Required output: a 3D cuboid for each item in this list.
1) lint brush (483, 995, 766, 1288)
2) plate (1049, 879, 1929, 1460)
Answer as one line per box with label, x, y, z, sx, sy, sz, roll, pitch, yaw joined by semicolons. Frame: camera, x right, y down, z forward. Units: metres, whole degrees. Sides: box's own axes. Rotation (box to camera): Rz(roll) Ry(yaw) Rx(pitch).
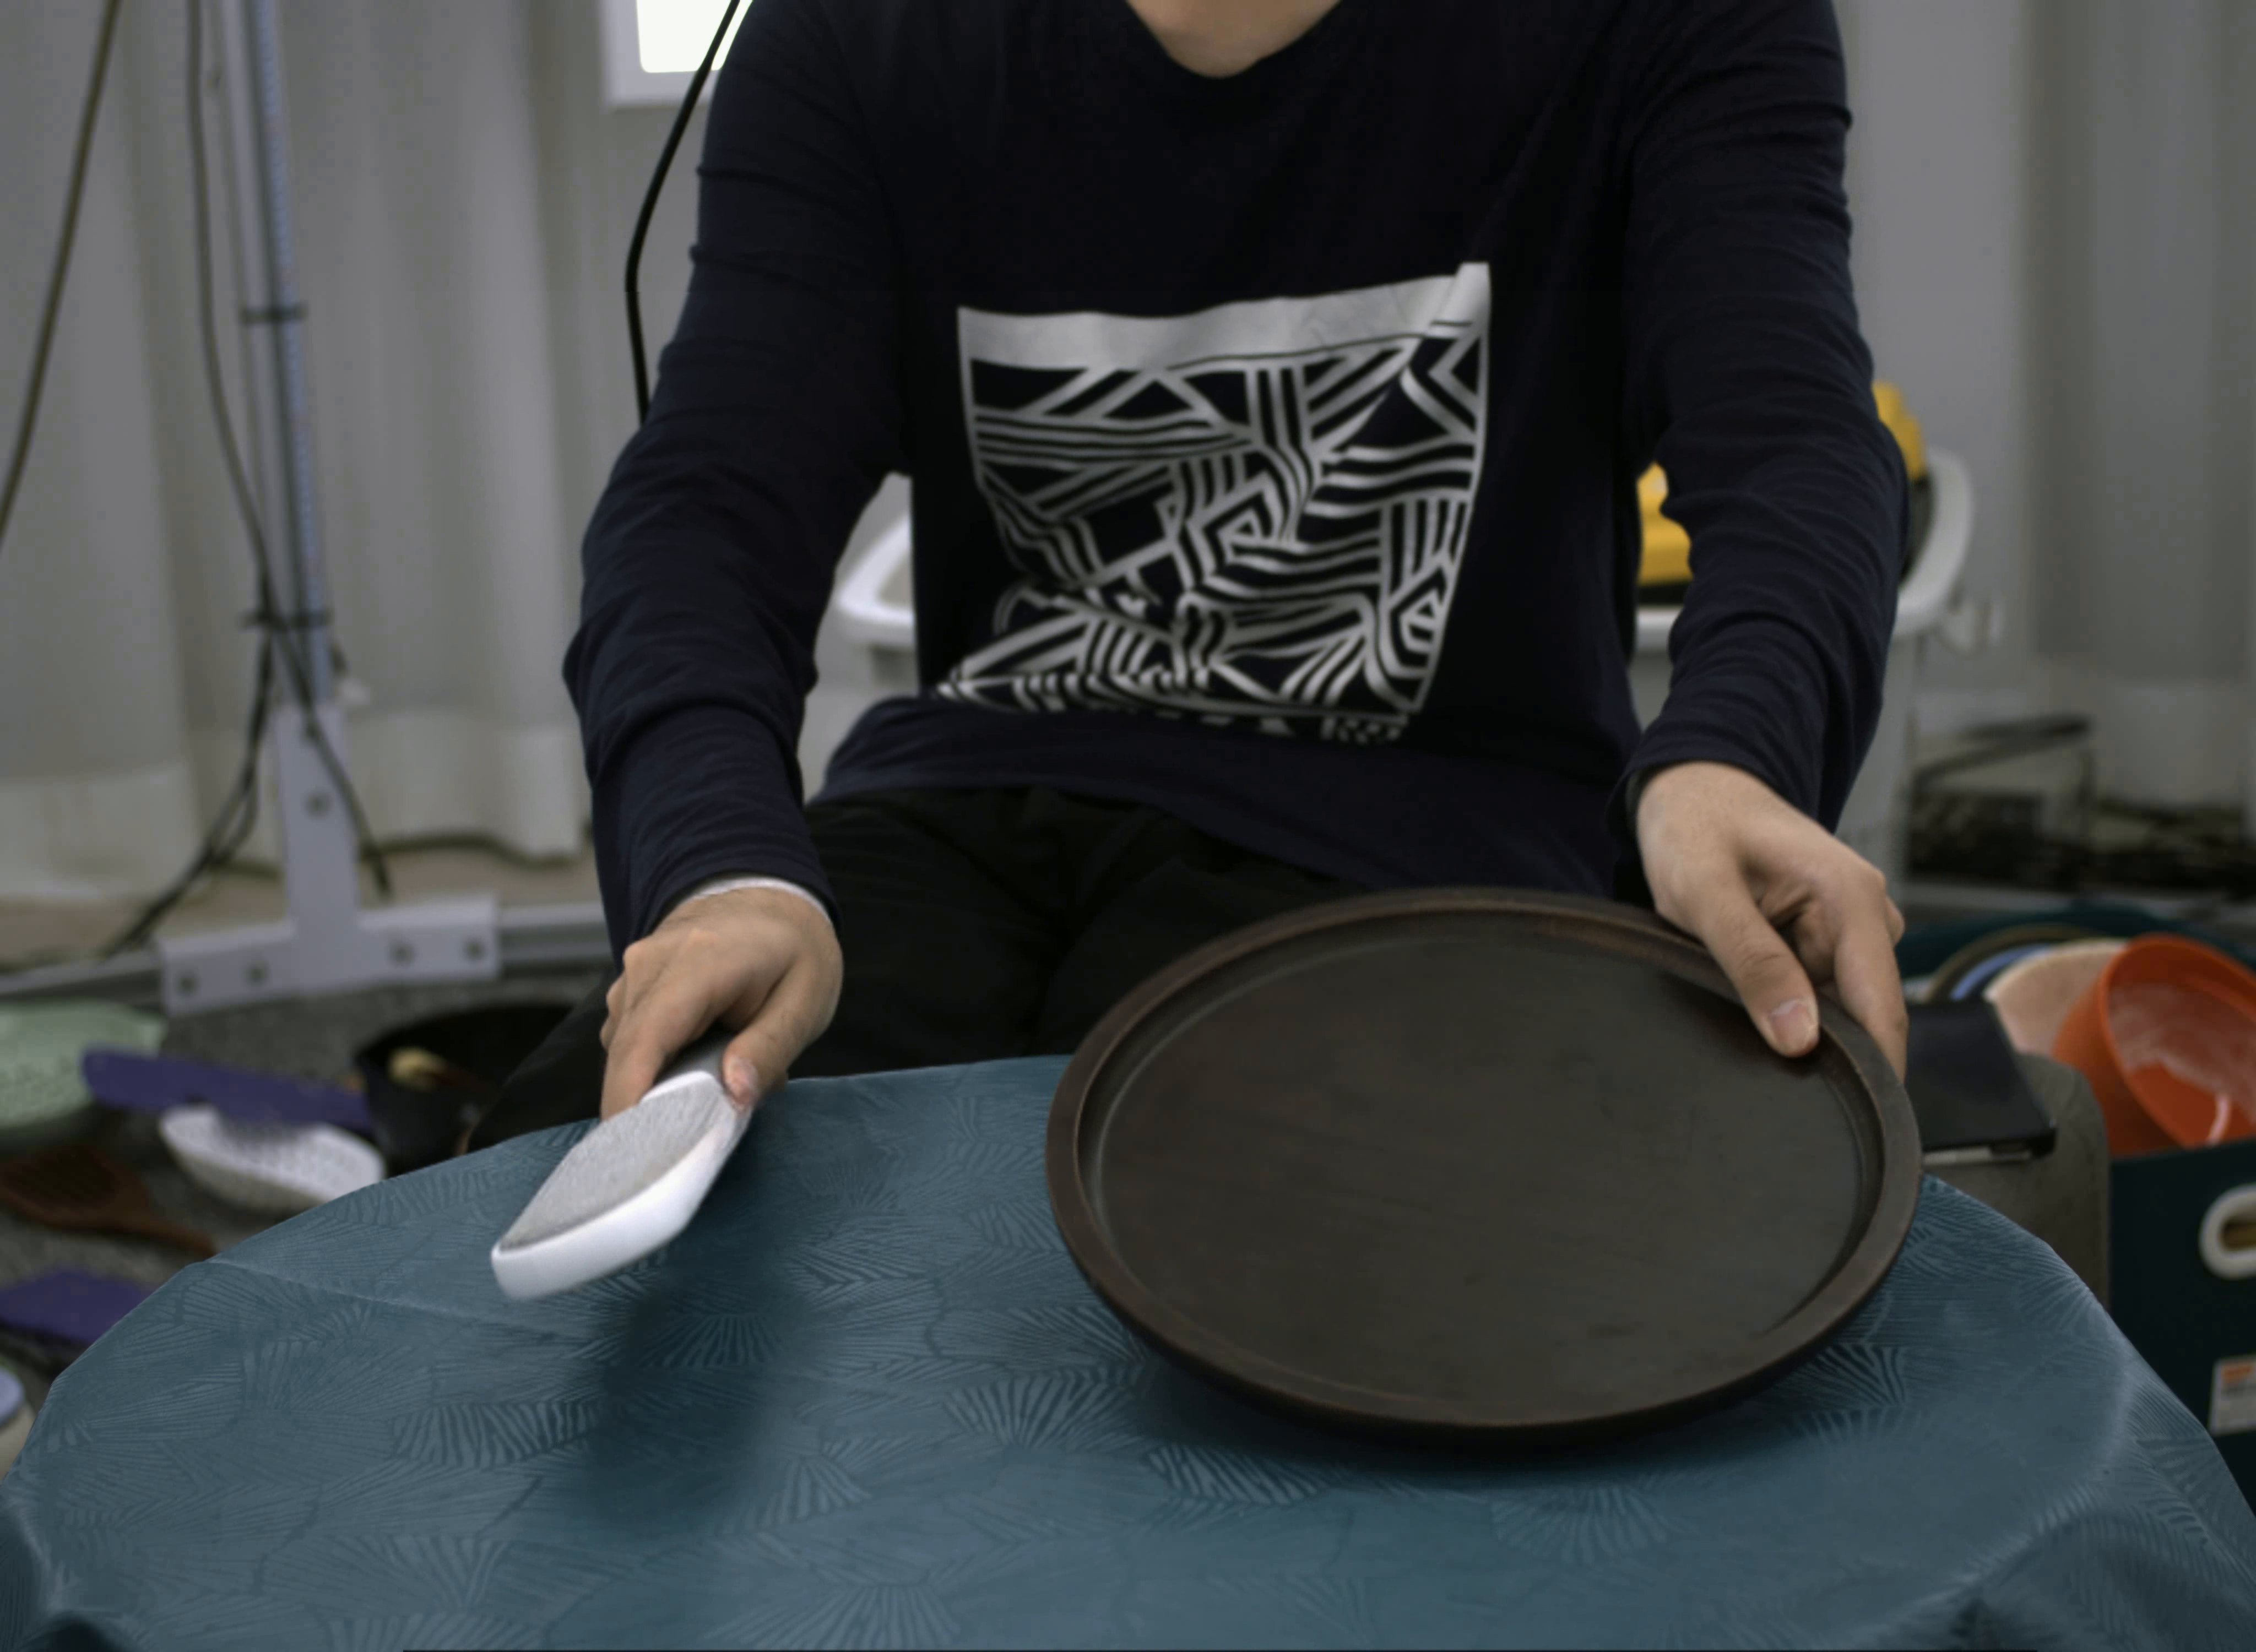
lint brush;-0.141;0.089;1.643;0.060;0.021;0.310;-27;6;8
plate;0.103;0.096;1.574;0.254;0.029;0.258;0;35;0
